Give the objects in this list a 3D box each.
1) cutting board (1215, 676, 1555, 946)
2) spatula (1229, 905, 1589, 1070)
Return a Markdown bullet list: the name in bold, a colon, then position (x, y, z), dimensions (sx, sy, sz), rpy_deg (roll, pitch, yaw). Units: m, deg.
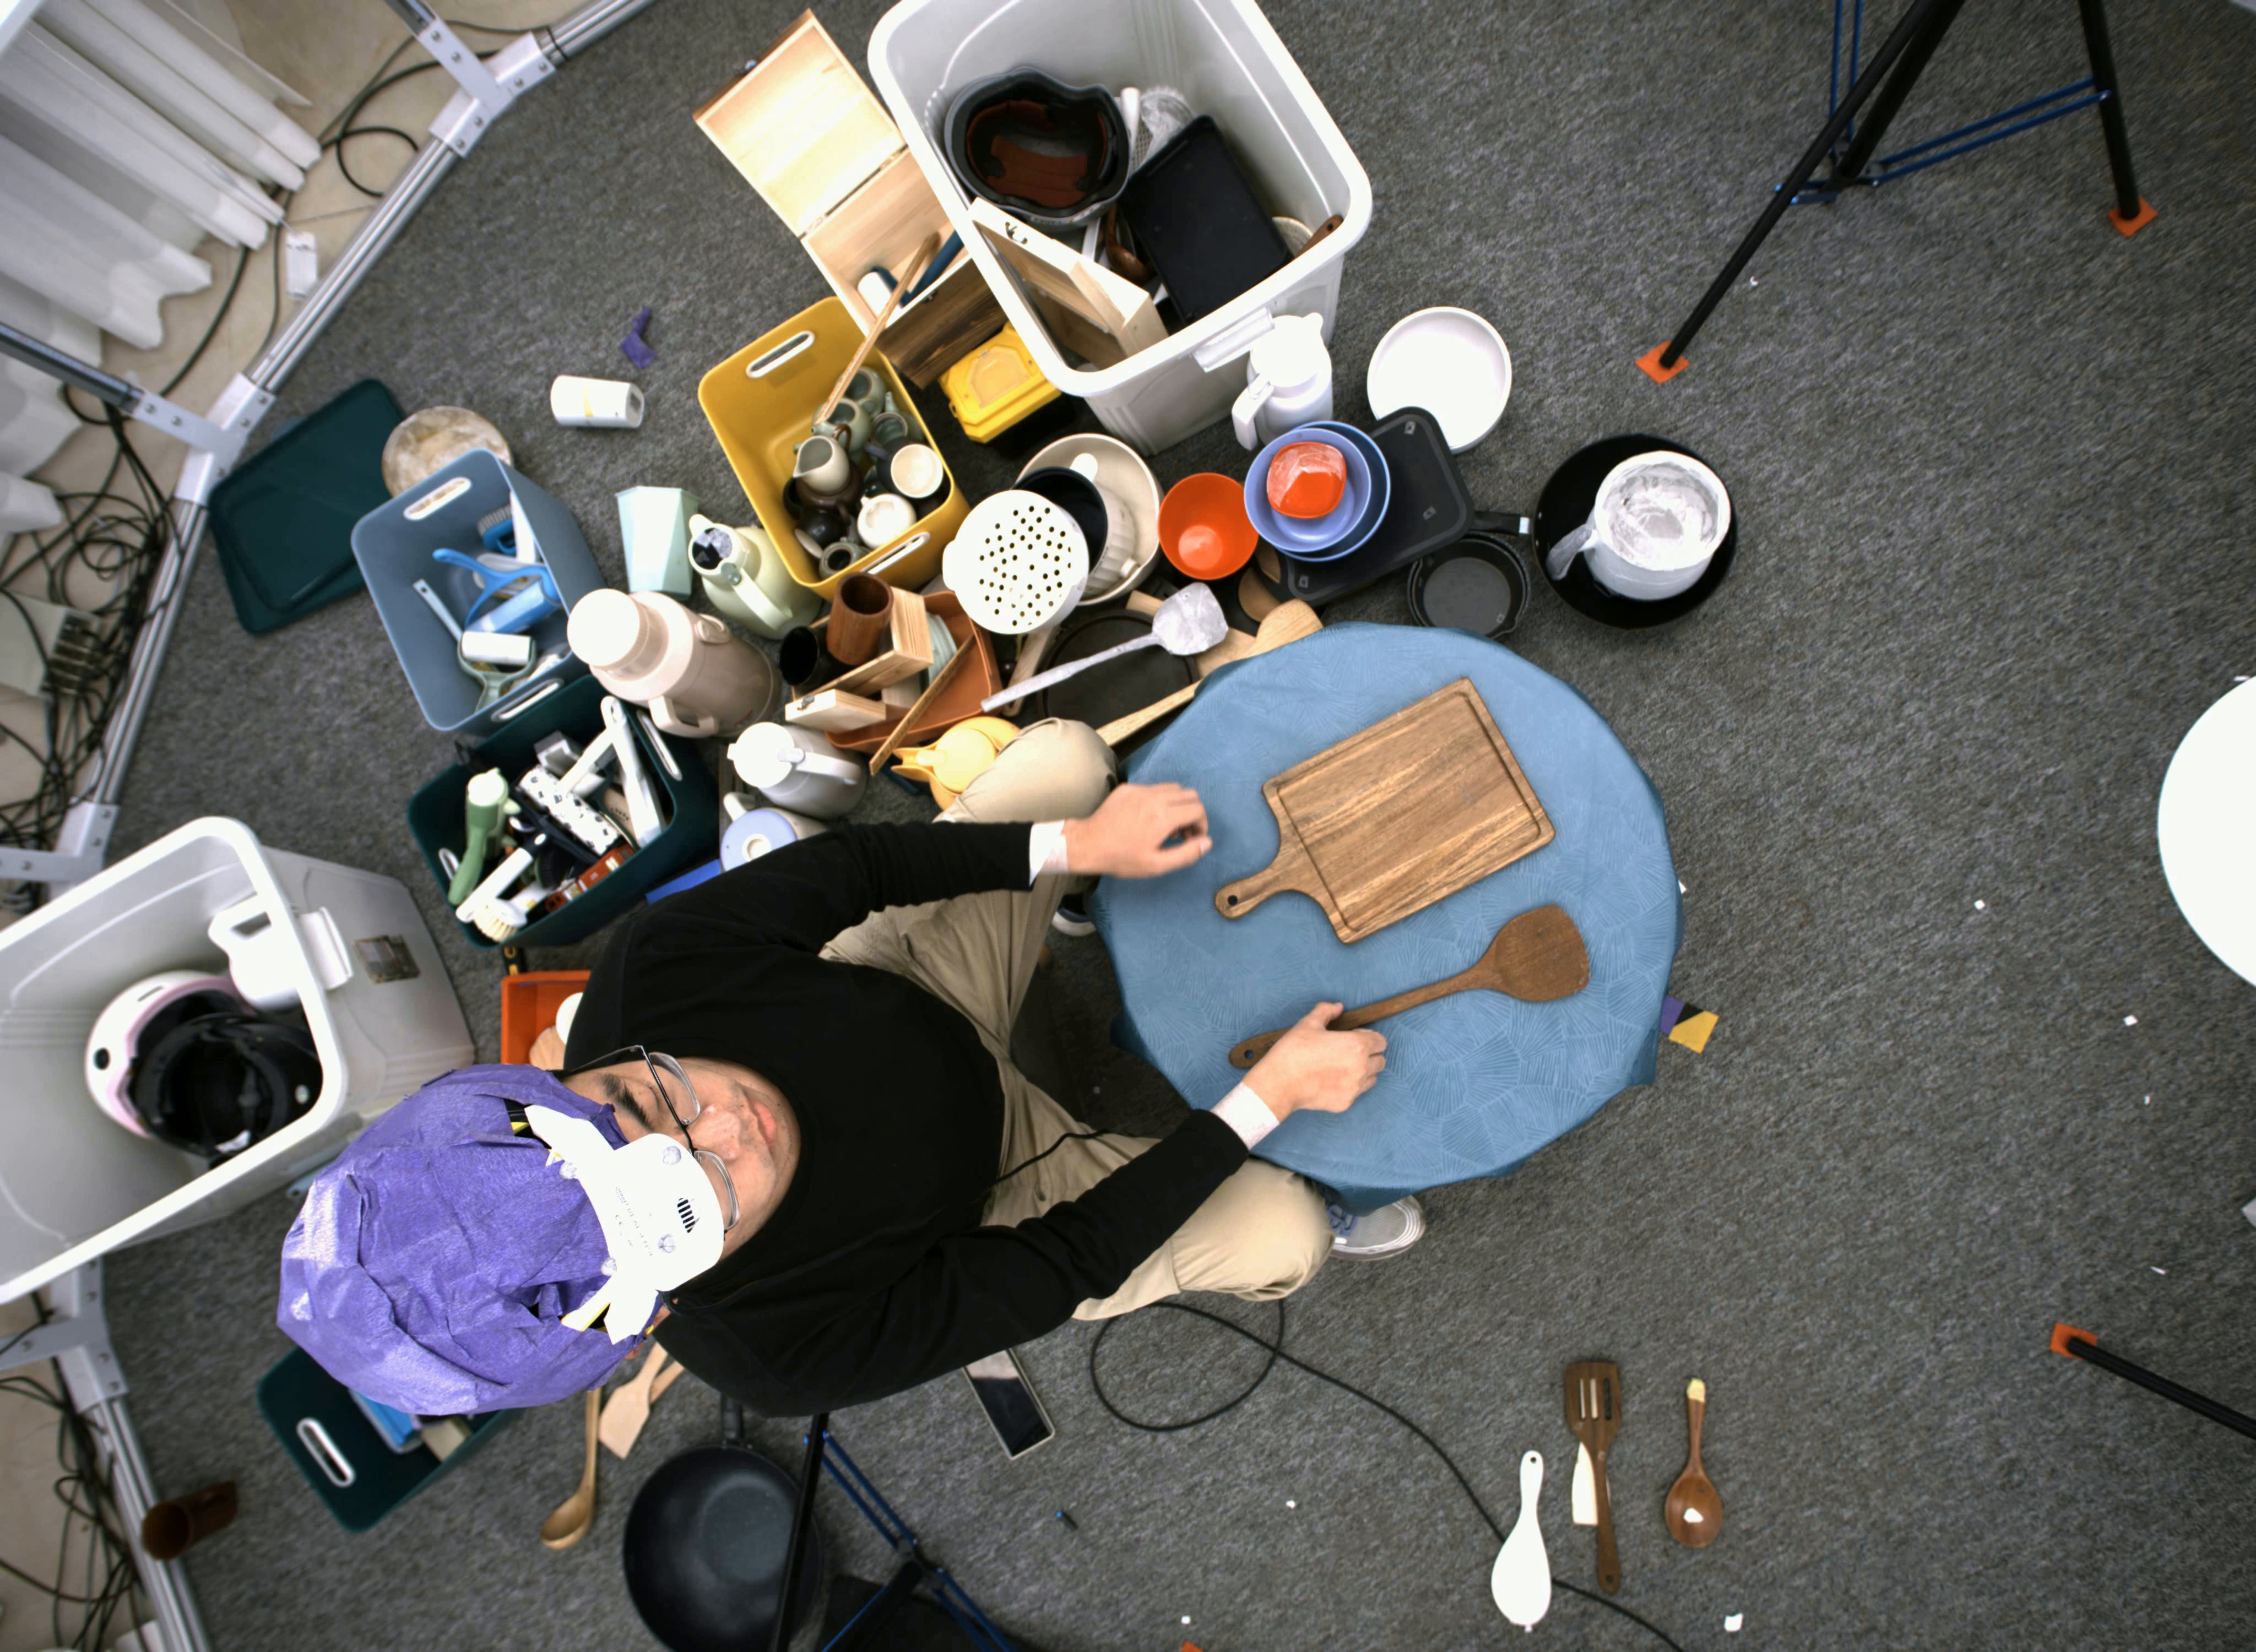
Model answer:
- **cutting board**: position (0.248, 0.006, 1.457), dimensions (0.354, 0.023, 0.200), rpy_deg (-29, 82, 8)
- **spatula**: position (0.288, 0.183, 1.443), dimensions (0.388, 0.016, 0.095), rpy_deg (-20, 83, 9)
